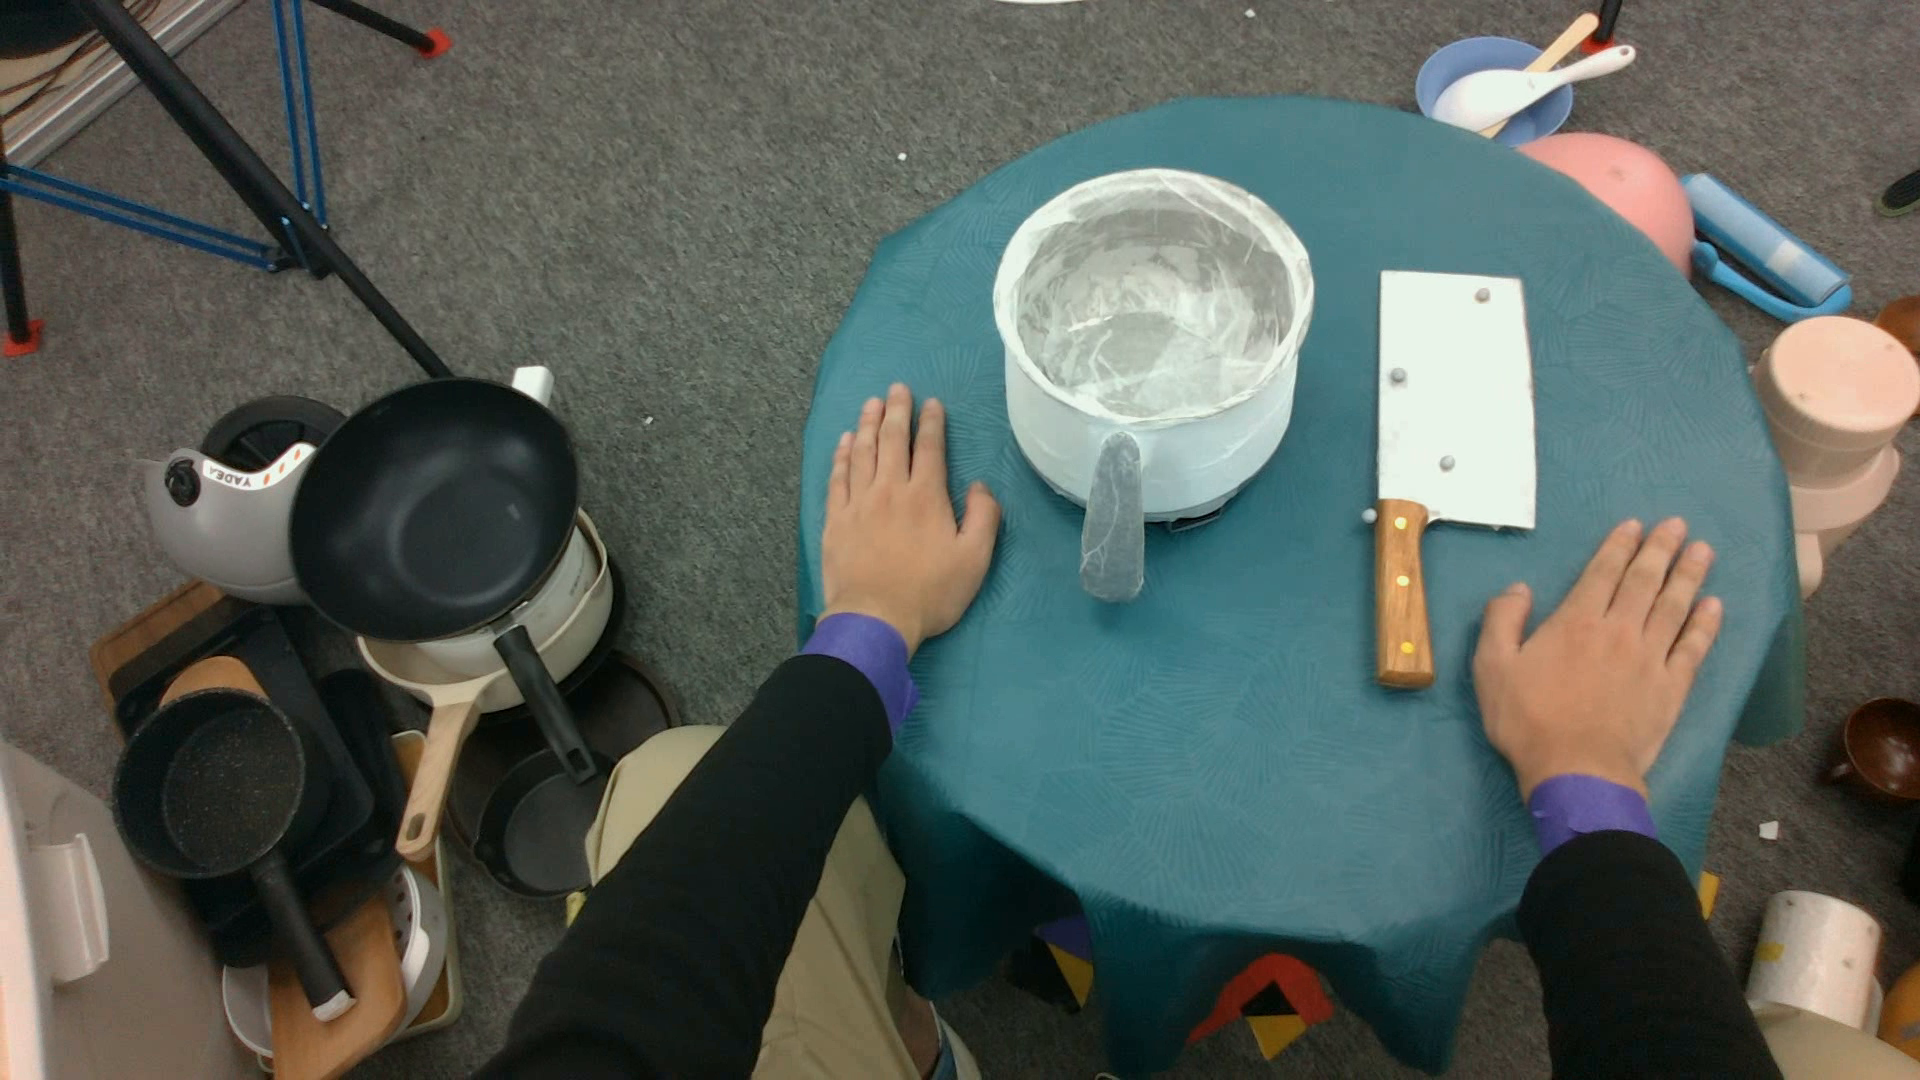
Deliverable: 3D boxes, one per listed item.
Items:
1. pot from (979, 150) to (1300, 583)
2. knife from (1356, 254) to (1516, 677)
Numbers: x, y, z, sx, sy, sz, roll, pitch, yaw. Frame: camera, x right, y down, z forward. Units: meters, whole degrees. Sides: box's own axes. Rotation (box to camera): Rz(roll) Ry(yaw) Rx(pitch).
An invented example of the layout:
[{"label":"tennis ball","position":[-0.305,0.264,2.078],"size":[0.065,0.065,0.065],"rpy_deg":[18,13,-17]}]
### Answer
[{"label":"pot","position":[0.100,-0.097,0.809],"size":[0.178,0.136,0.234],"rpy_deg":[7,62,10]},{"label":"knife","position":[0.290,-0.055,0.839],"size":[0.093,0.021,0.307],"rpy_deg":[5,61,9]}]
